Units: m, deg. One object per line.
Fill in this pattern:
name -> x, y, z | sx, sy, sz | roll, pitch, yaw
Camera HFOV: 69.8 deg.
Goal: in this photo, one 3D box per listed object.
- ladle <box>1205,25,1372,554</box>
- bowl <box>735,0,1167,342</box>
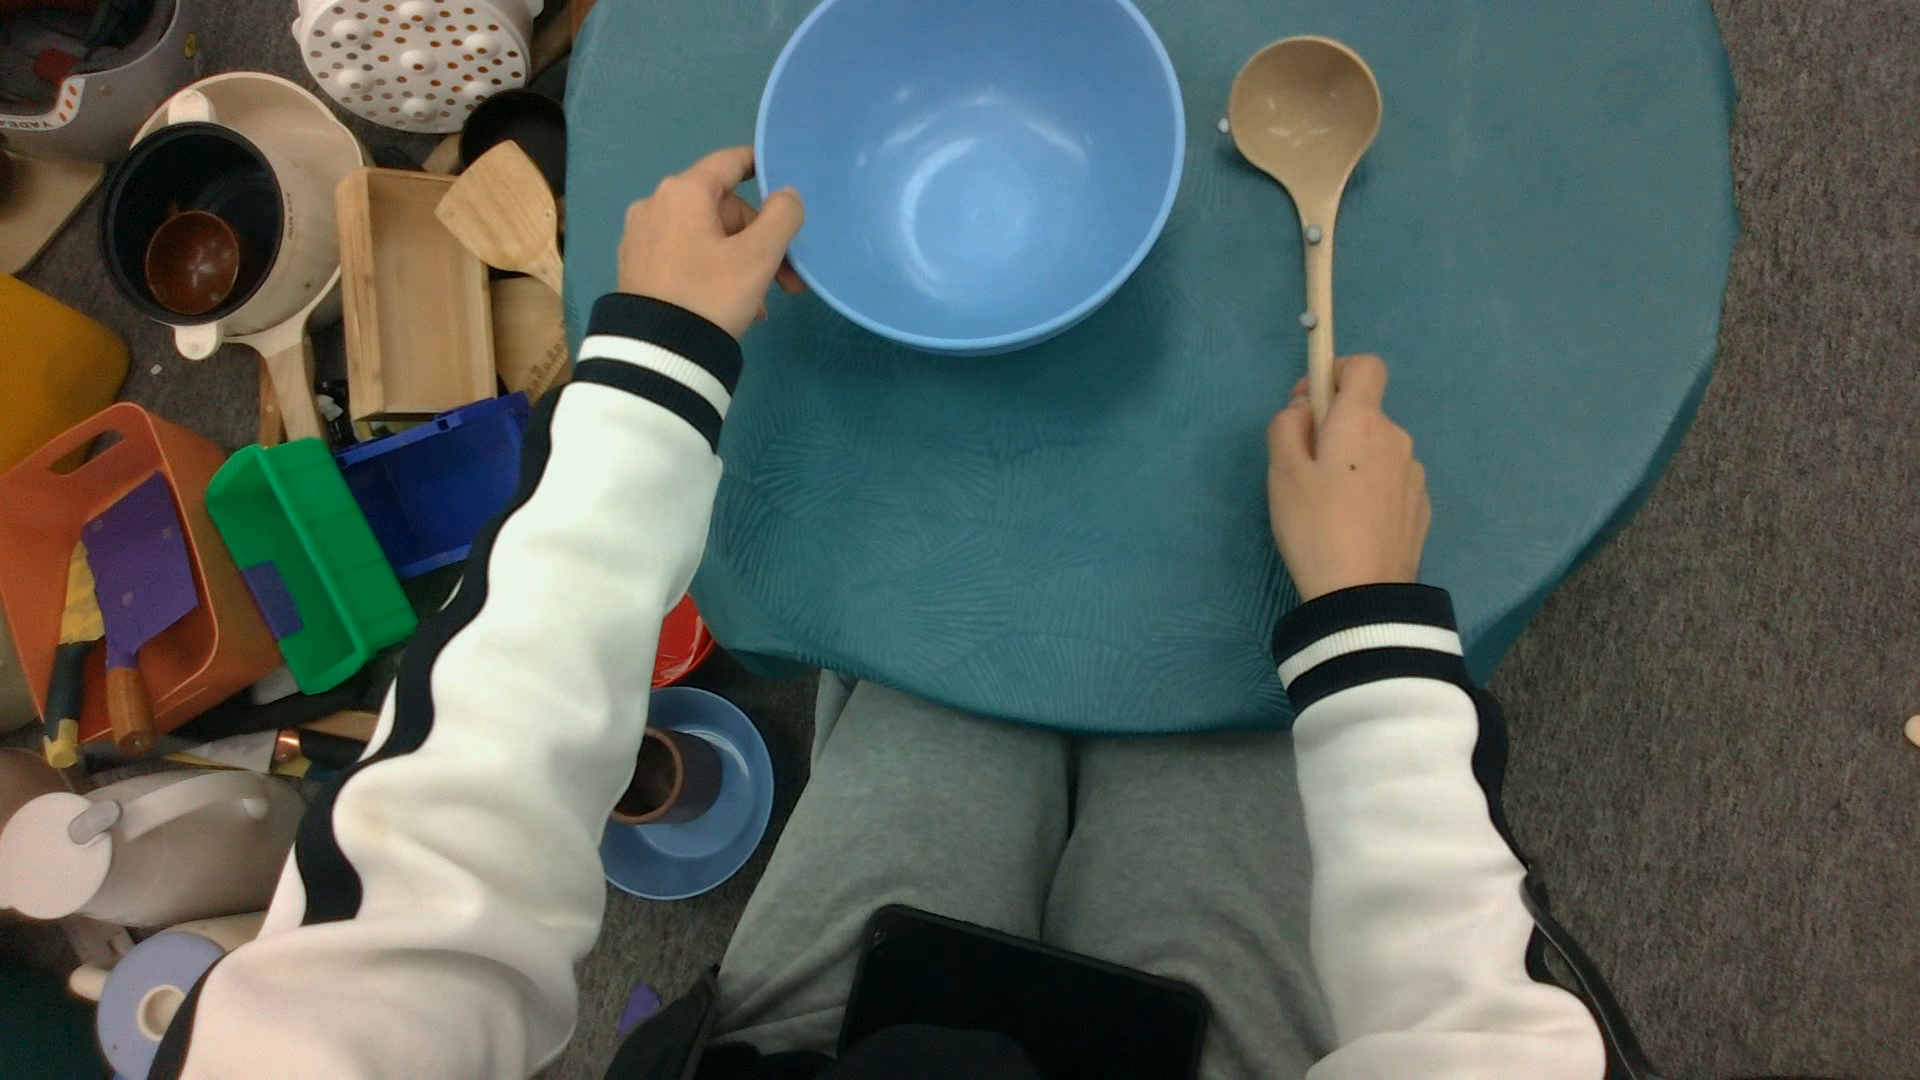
ladle -> 0.159, -0.123, 0.641 | 0.072, 0.073, 0.255 | -12, 67, 26
bowl -> -0.001, -0.178, 0.667 | 0.196, 0.095, 0.197 | -1, 76, 5
